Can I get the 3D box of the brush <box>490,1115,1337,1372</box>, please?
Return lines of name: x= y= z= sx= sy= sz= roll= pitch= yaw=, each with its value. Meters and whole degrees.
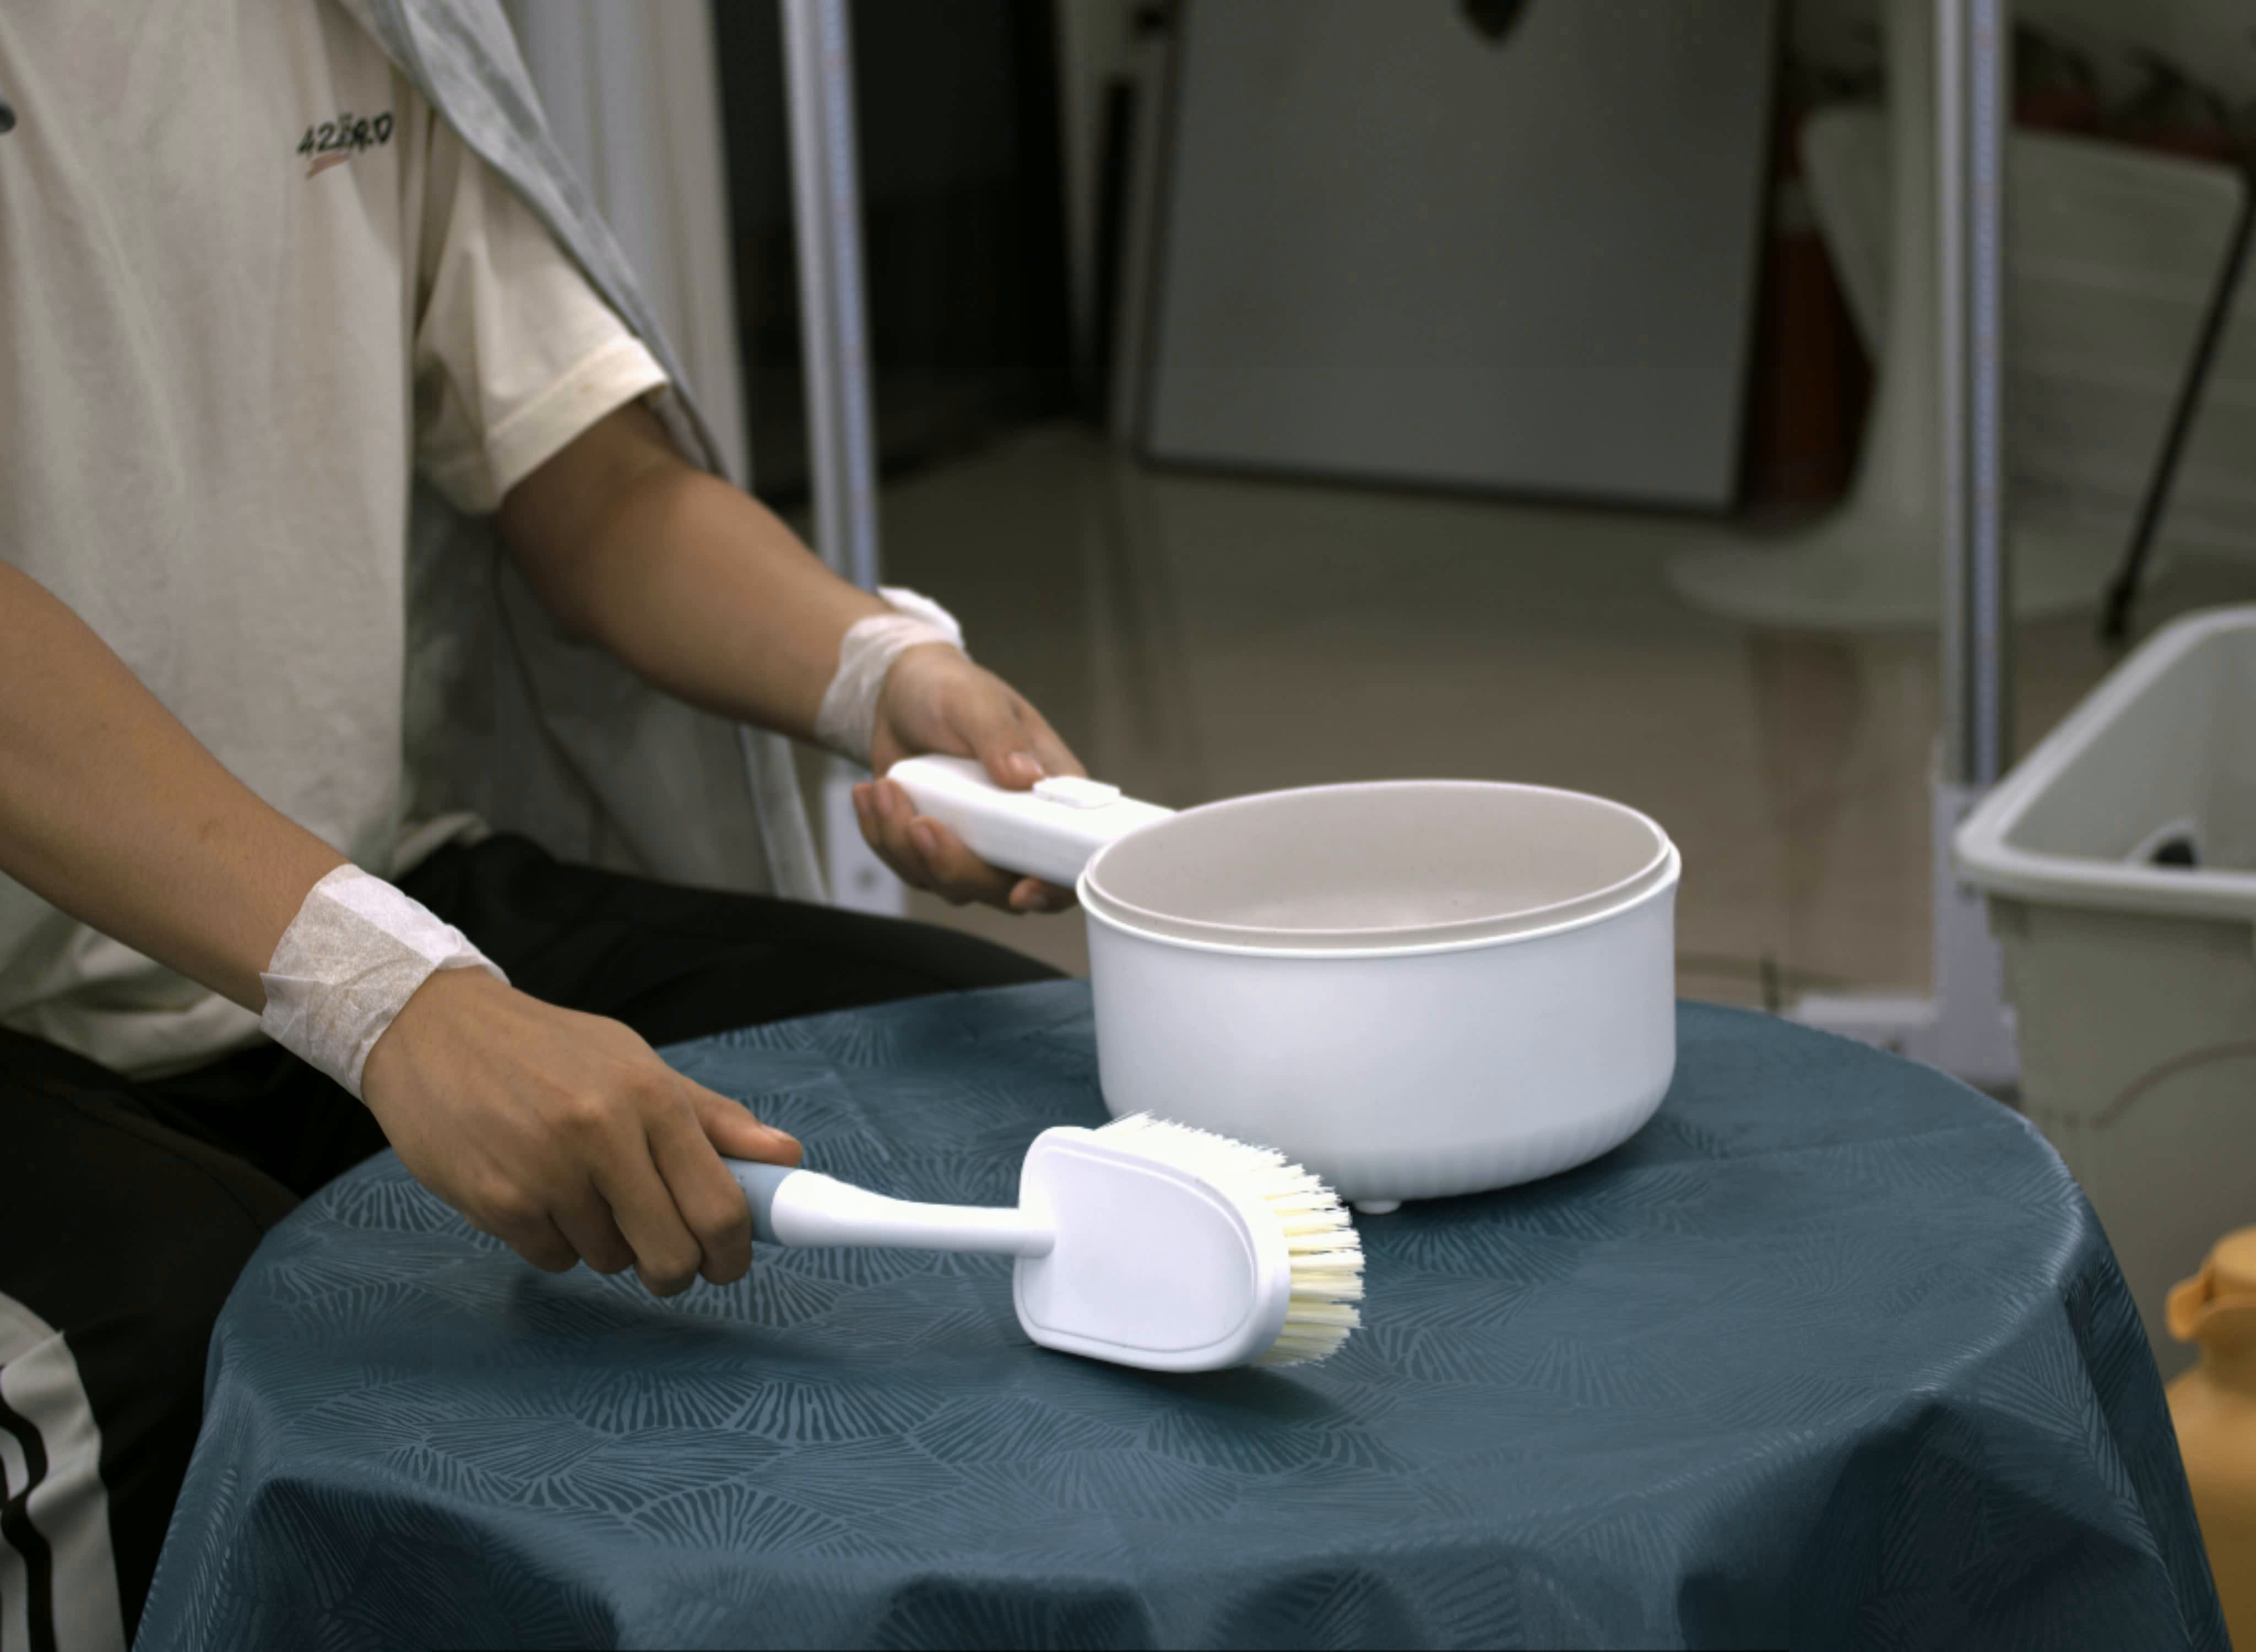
brush: x=-0.061 y=0.116 z=1.662 sx=0.328 sy=0.084 sz=0.083 roll=5 pitch=55 yaw=40

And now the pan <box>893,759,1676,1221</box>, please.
pan: x=0.038 y=0.049 z=1.856 sx=0.197 sy=0.103 sz=0.358 roll=-15 pitch=17 yaw=-36
